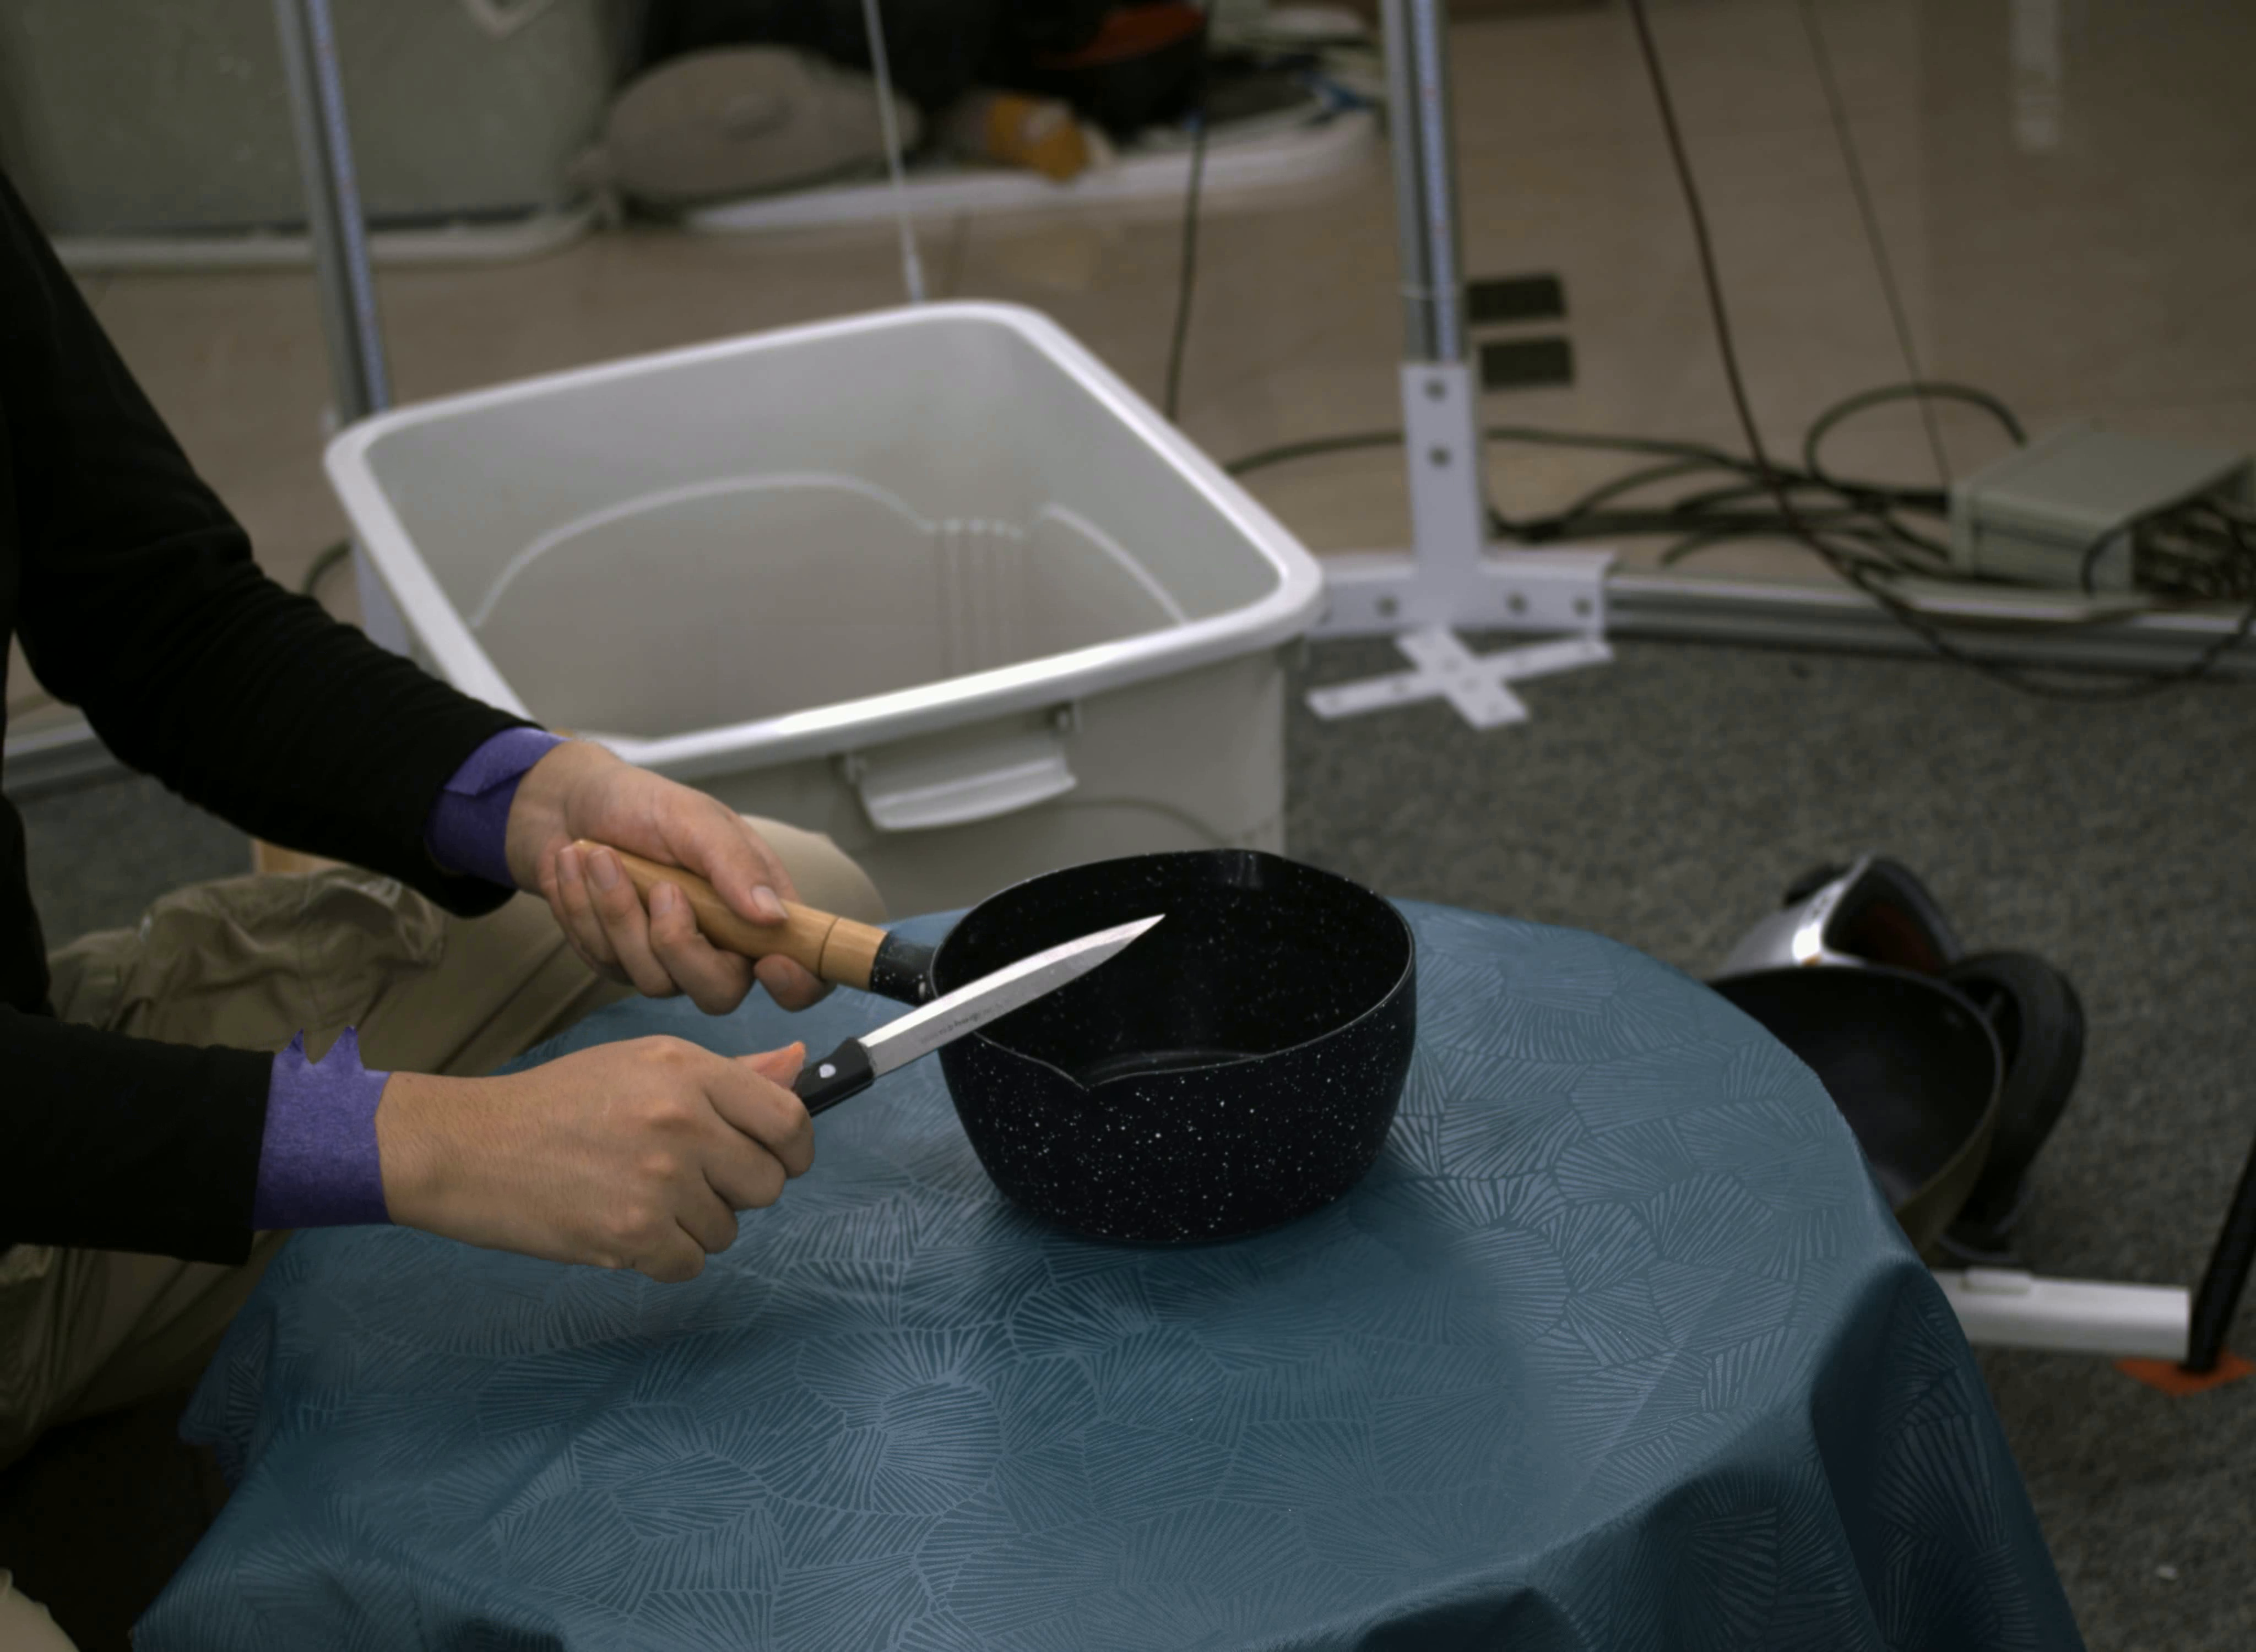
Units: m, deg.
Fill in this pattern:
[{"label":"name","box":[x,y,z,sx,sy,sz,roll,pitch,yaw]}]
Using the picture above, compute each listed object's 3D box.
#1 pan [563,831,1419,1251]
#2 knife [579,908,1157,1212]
[{"label":"pan","box":[-0.057,0.071,2.168,0.342,0.110,0.204,6,28,17]},{"label":"knife","box":[-0.092,0.085,2.085,0.237,0.016,0.024,-26,49,-10]}]
